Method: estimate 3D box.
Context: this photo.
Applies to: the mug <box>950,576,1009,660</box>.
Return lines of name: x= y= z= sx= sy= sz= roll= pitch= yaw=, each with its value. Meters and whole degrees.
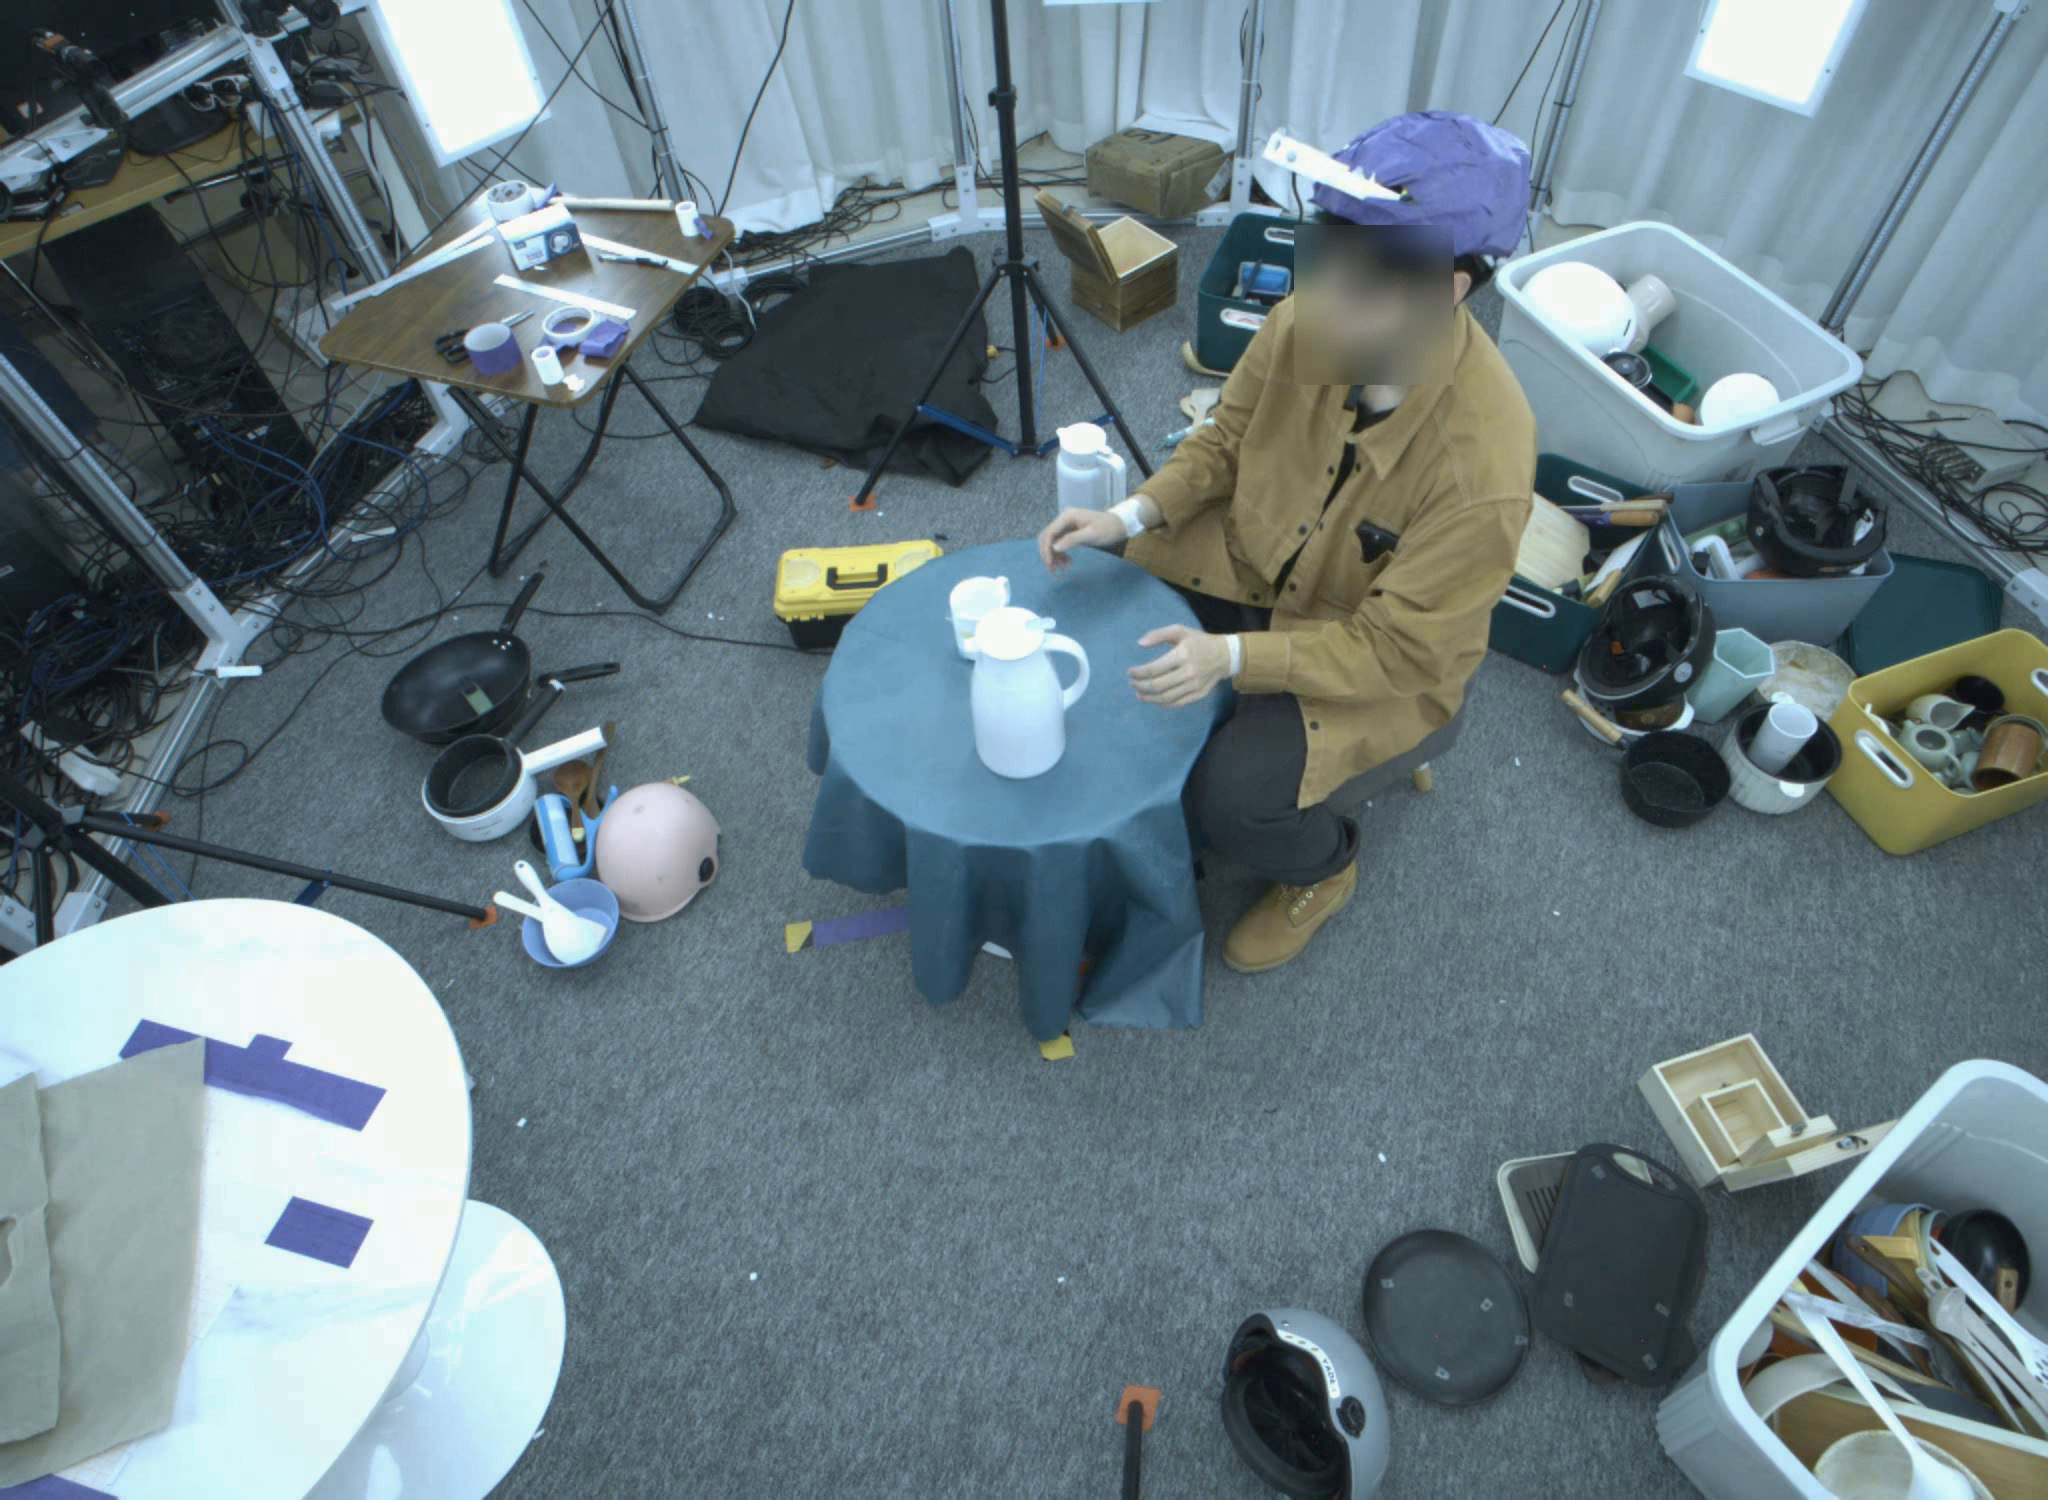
mug: x=-0.059 y=-0.209 z=1.872 sx=0.084 sy=0.103 sz=0.118 roll=24 pitch=58 yaw=18

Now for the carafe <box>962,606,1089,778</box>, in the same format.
carafe: x=0.006 y=-0.089 z=1.693 sx=0.168 sy=0.251 sz=0.130 roll=-9 pitch=53 yaw=-3
